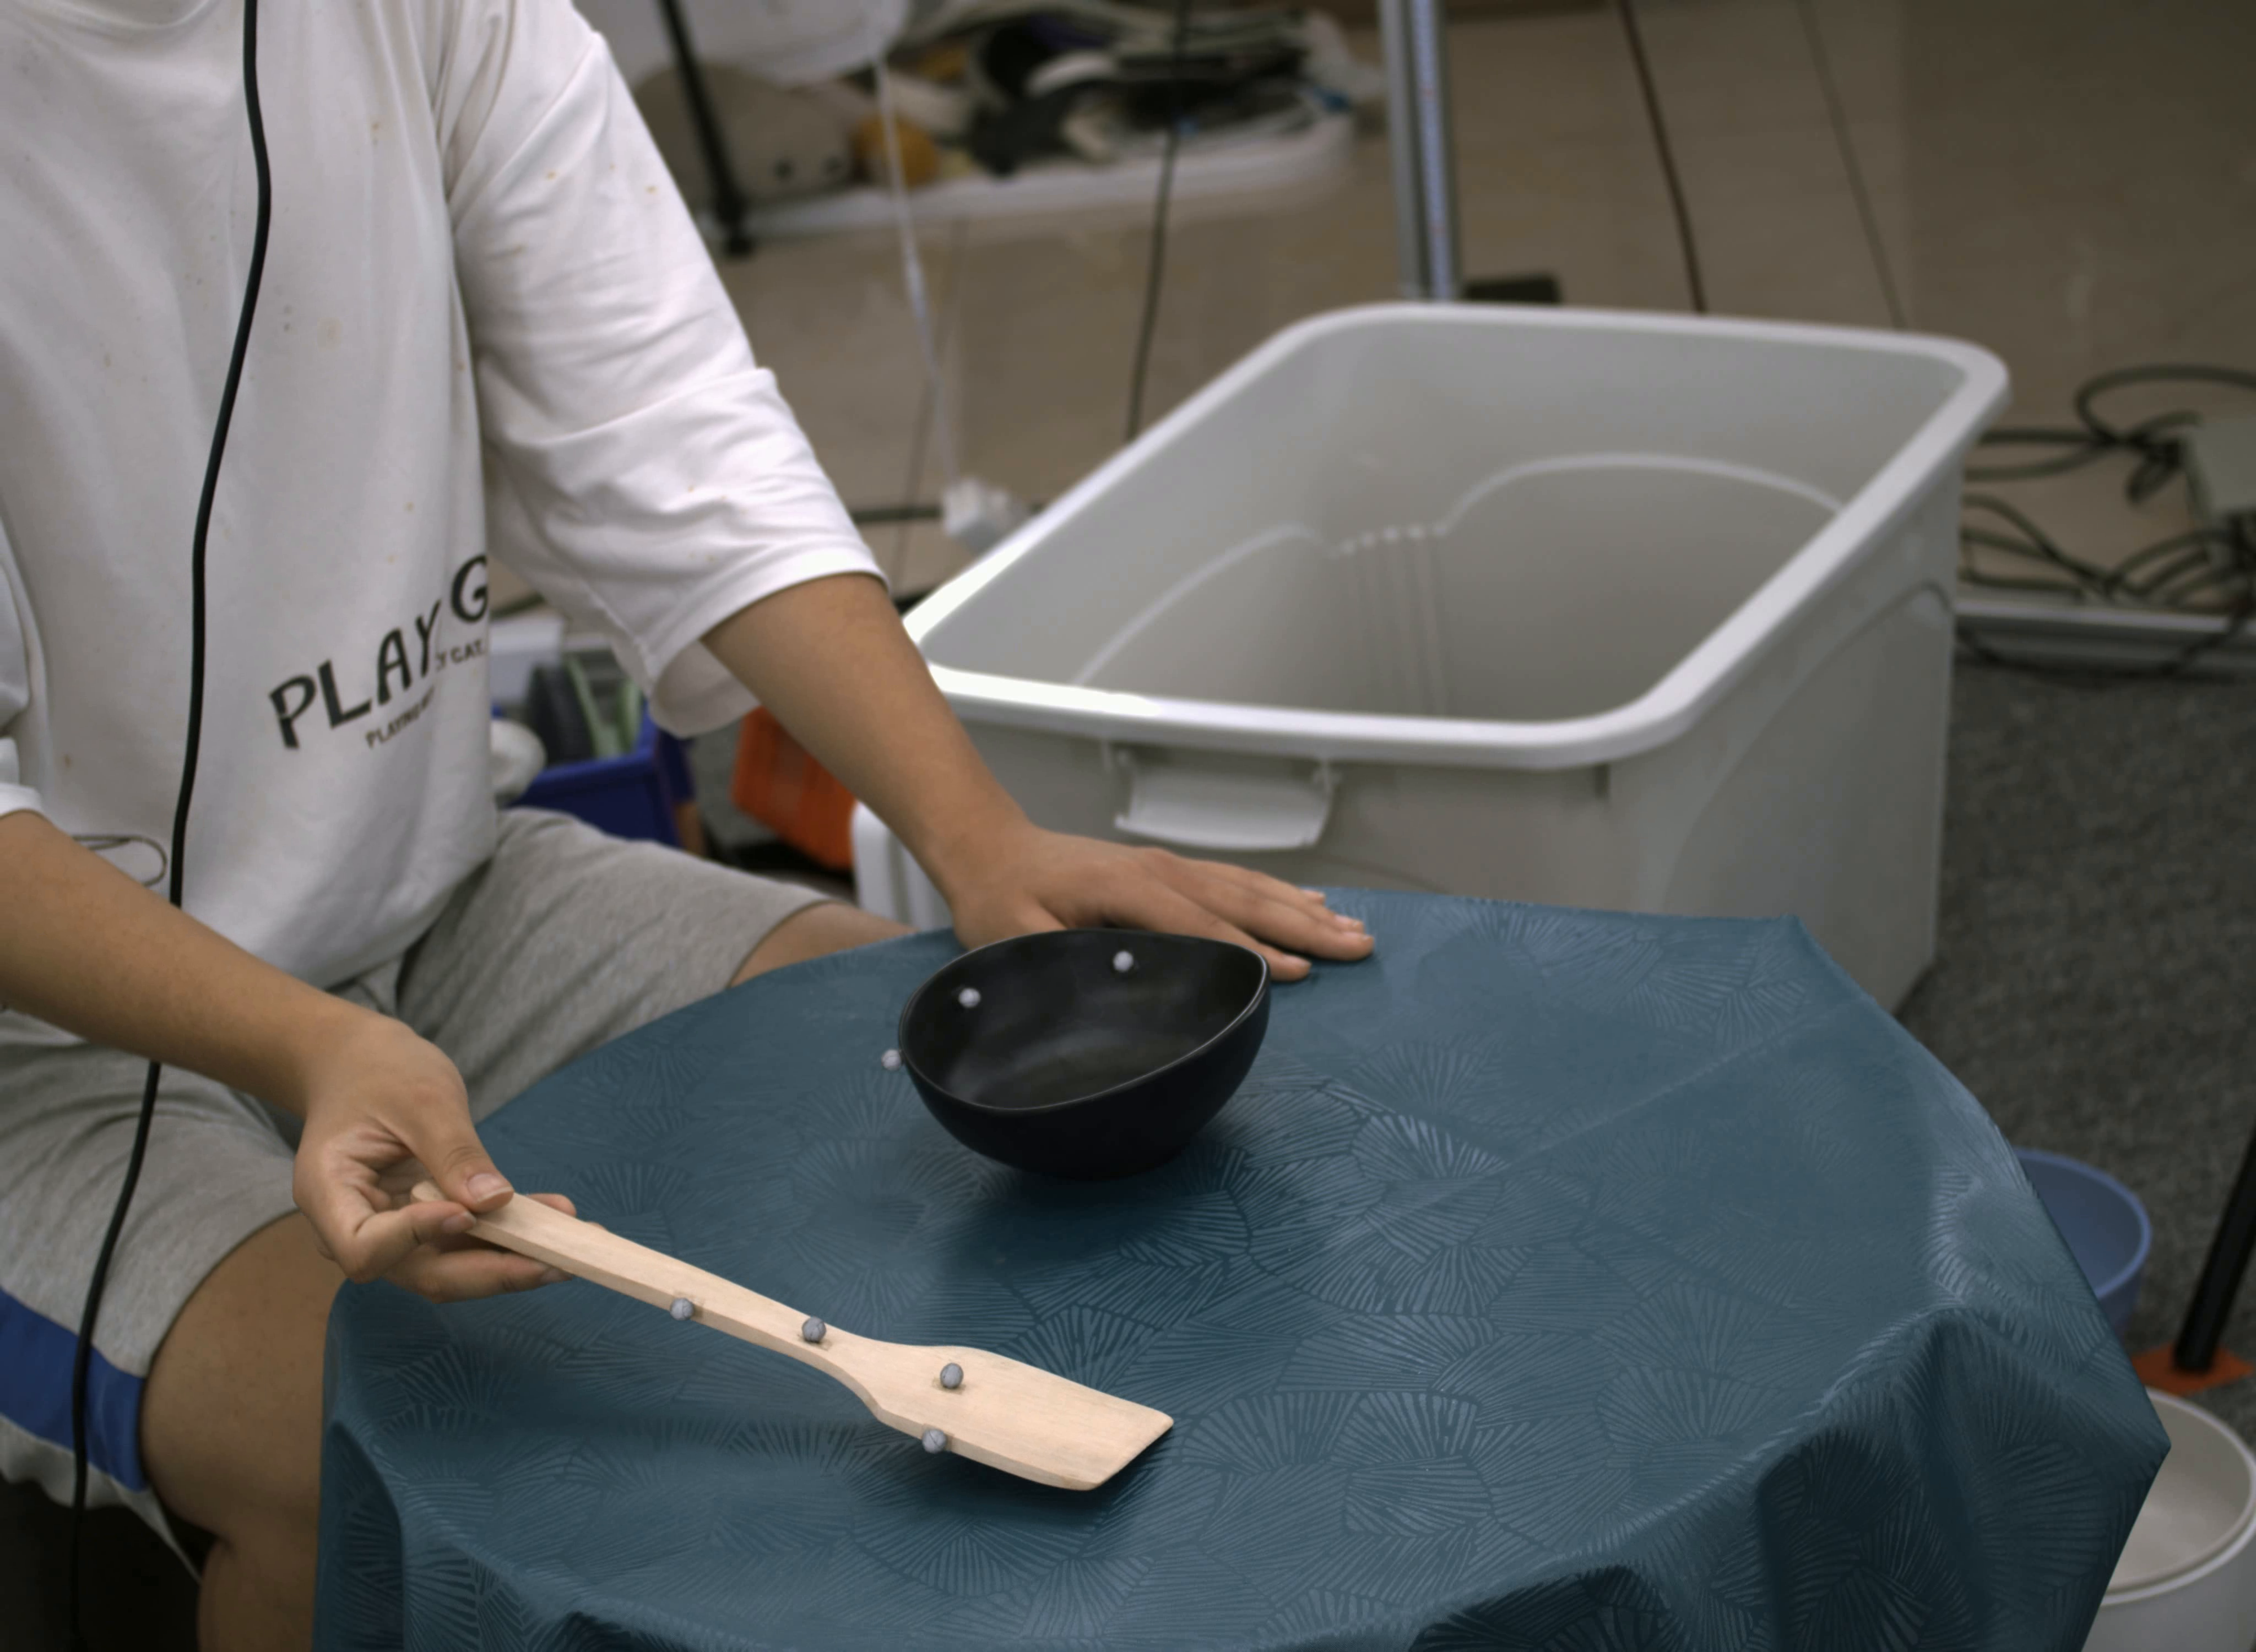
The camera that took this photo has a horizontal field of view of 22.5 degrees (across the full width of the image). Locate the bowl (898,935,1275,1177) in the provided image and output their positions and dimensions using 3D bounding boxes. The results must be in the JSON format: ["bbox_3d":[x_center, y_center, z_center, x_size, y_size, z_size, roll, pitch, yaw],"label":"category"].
[{"bbox_3d":[-0.013,0.092,2.174,0.137,0.068,0.168,6,26,26],"label":"bowl"}]

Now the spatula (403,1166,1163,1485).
[{"bbox_3d":[-0.130,0.174,2.009,0.291,0.011,0.071,19,23,19],"label":"spatula"}]
